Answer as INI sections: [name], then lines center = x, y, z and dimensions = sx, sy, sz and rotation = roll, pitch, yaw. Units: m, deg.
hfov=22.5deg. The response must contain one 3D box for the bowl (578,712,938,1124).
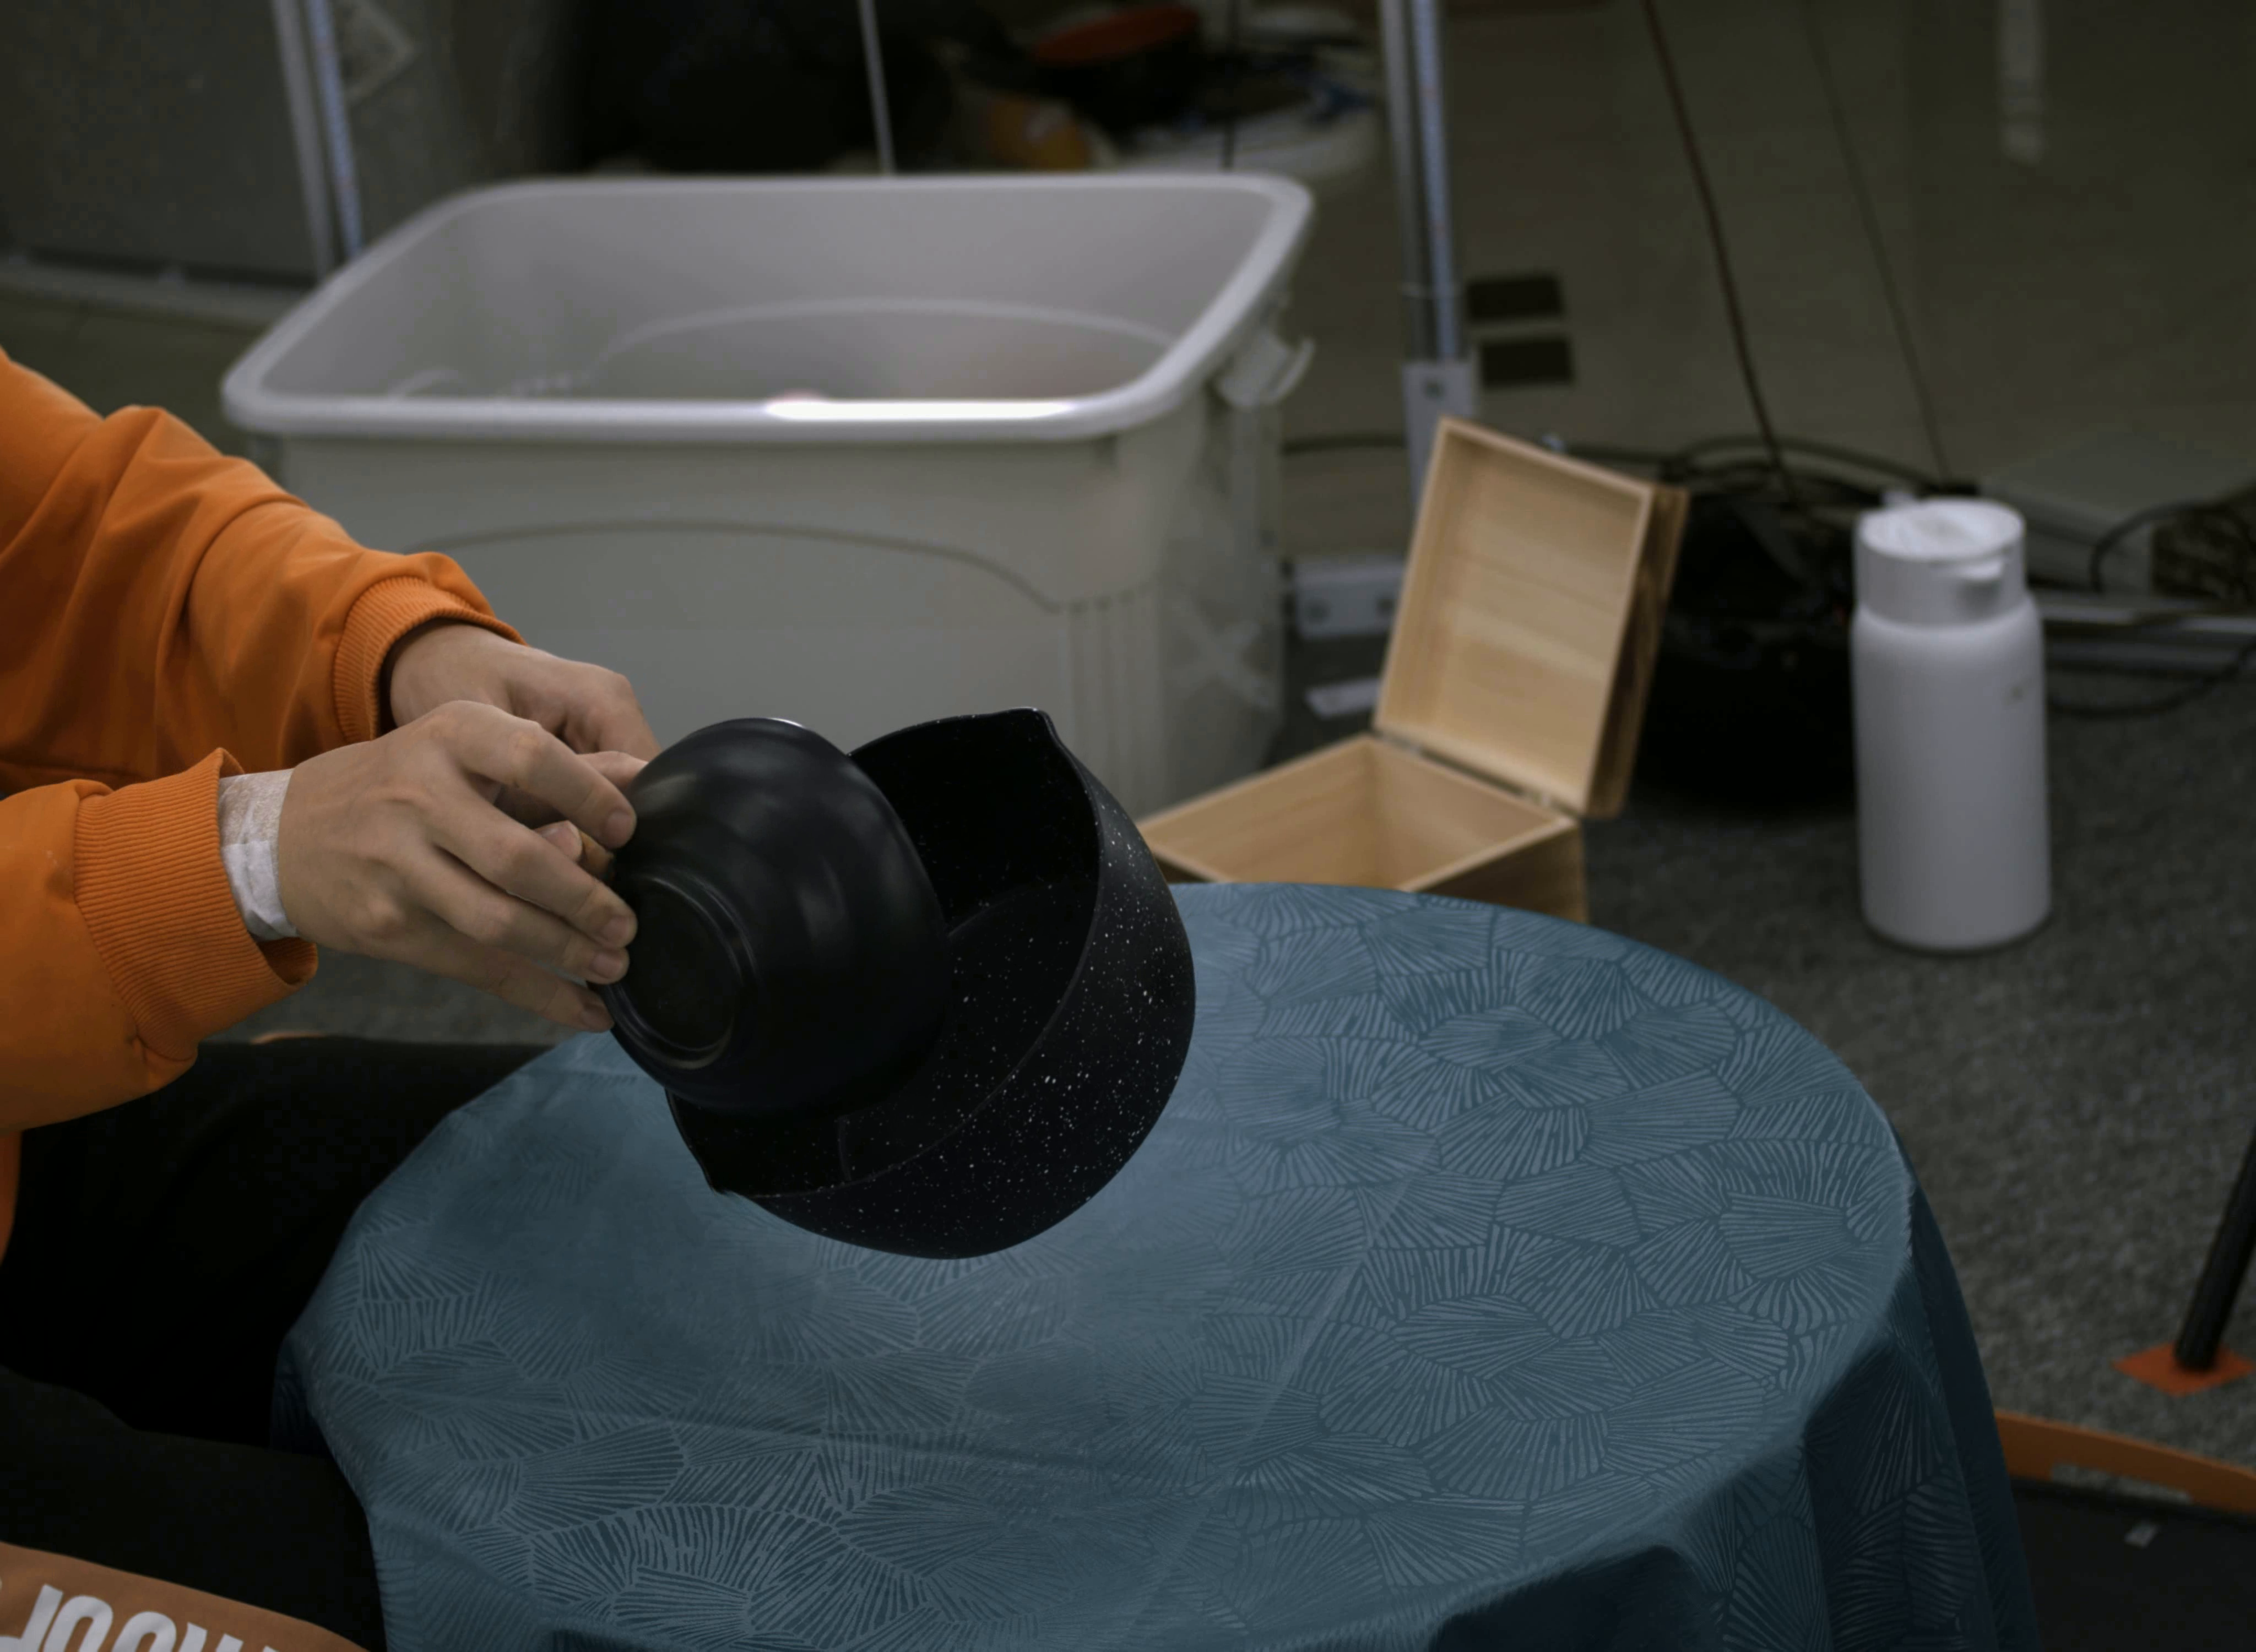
[bowl]
center = -0.131, 0.039, 1.848
dimensions = 0.066, 0.137, 0.172
rotation = -29, -2, -41

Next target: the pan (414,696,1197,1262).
[pan]
center = -0.121, 0.040, 1.983
dimensions = 0.340, 0.109, 0.206
rotation = 19, 75, 44
